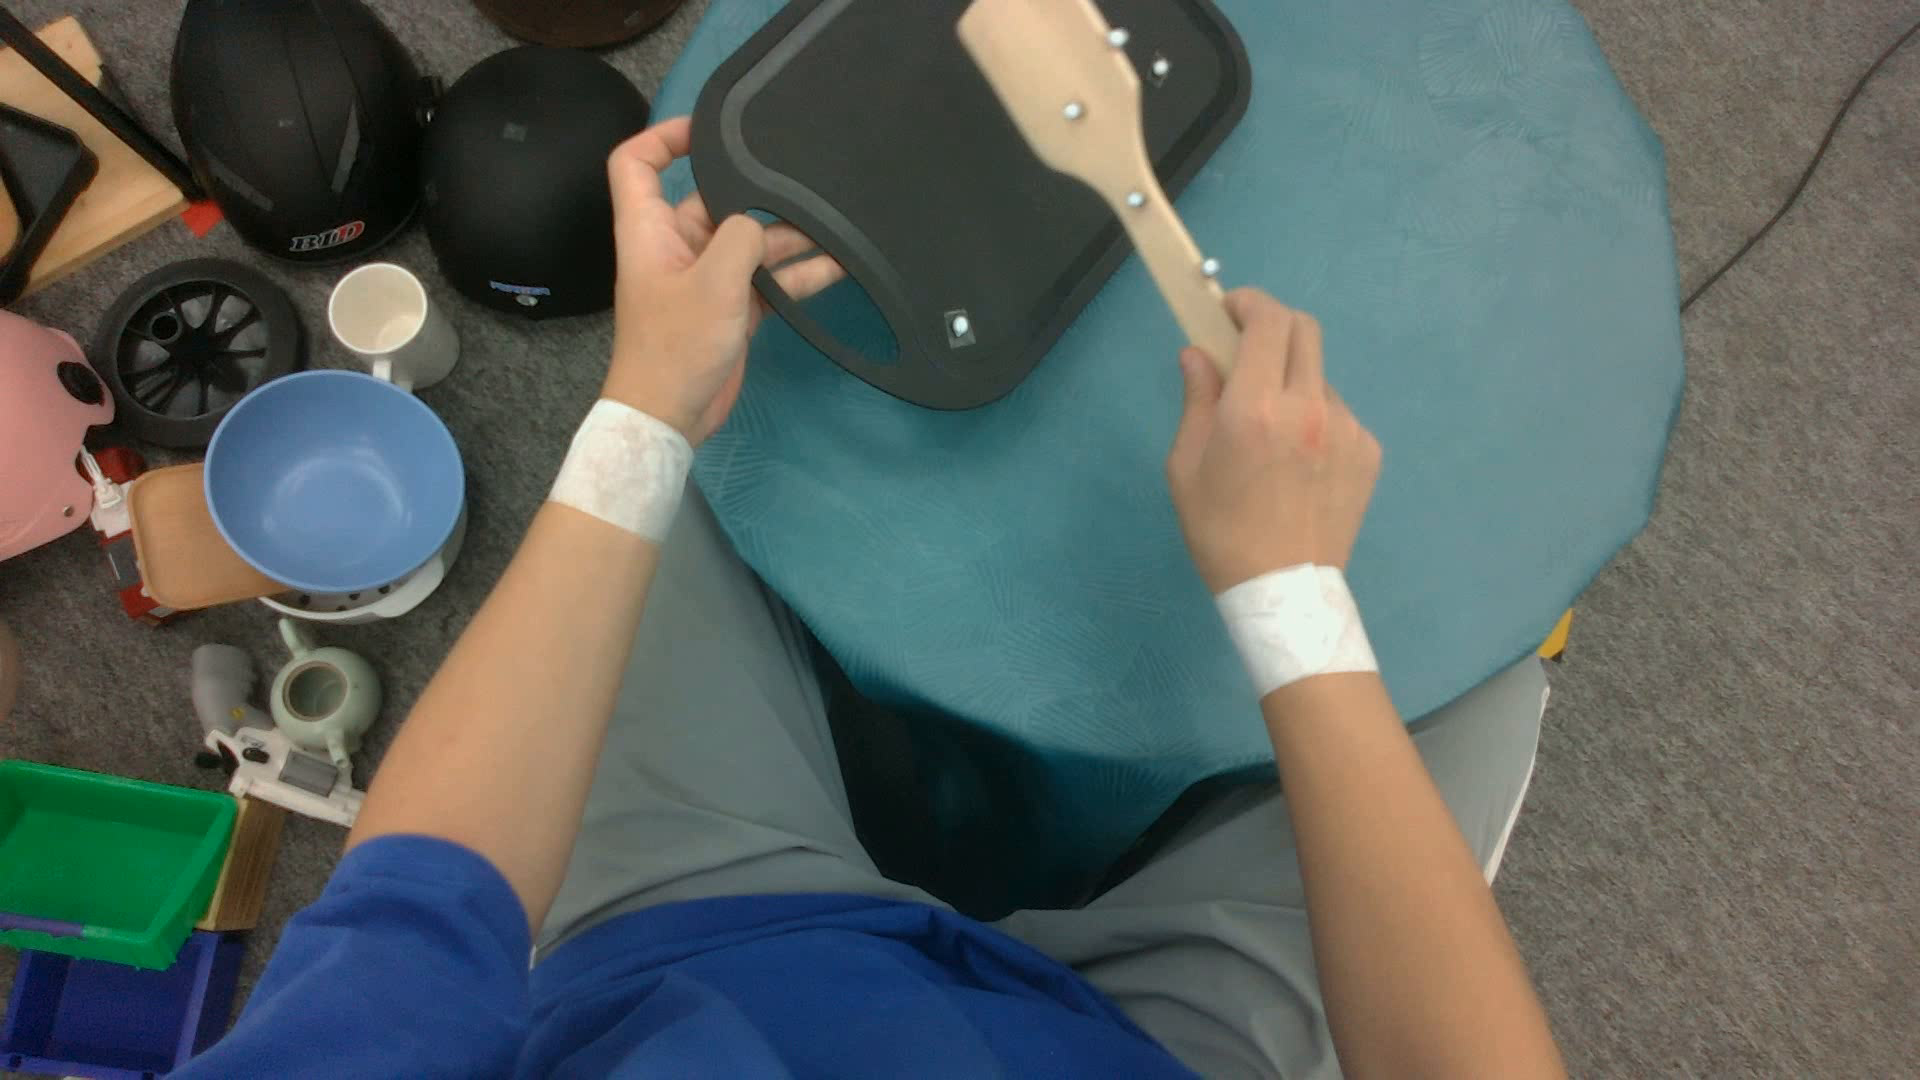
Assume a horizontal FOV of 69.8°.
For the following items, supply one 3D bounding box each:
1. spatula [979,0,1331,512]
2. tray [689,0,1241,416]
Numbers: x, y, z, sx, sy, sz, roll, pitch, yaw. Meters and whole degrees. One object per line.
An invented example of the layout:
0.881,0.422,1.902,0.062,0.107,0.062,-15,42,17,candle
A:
0.101,-0.143,0.675,0.011,0.072,0.293,-27,85,-41,spatula
0.013,-0.219,0.726,0.211,0.010,0.326,44,68,-12,tray
